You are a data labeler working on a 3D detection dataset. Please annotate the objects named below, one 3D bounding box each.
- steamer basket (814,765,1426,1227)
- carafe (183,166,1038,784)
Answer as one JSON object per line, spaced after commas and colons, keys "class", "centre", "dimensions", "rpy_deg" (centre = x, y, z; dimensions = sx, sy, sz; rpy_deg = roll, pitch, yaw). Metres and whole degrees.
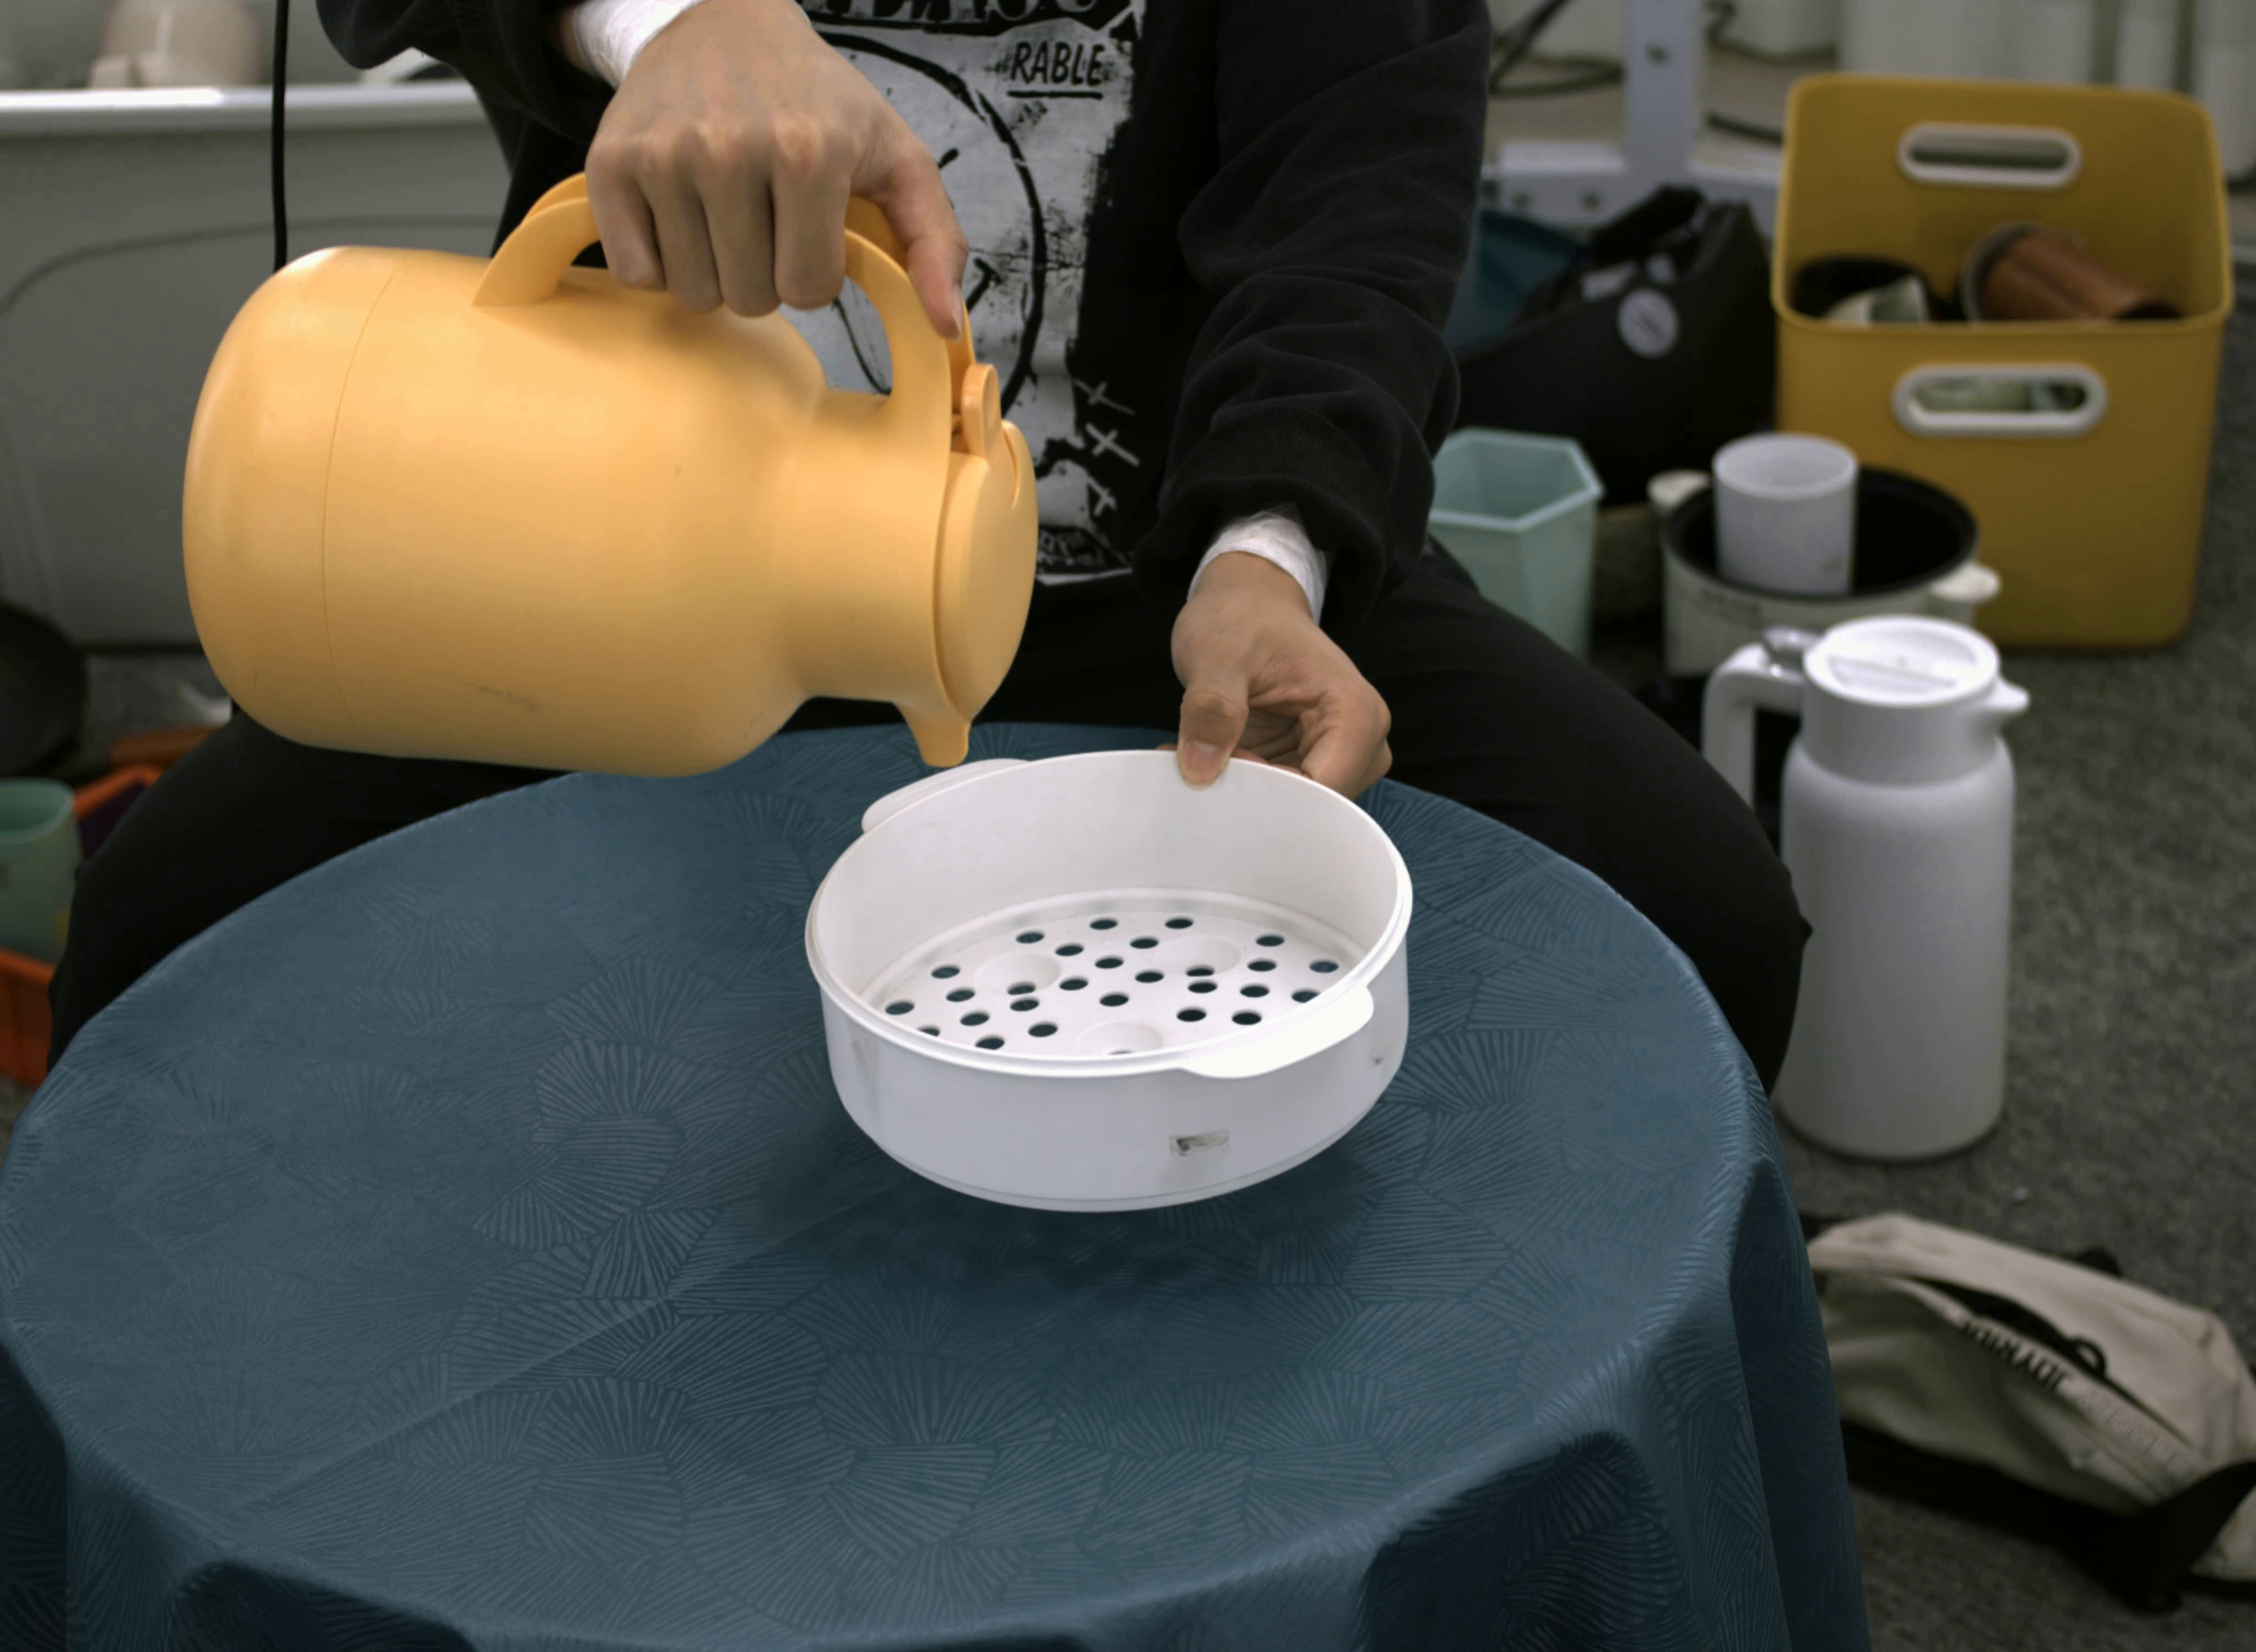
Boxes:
{"class": "steamer basket", "centre": [-0.001, 0.056, 1.850], "dimensions": [0.203, 0.068, 0.231], "rpy_deg": [-22, 34, -28]}
{"class": "carafe", "centre": [-0.160, -0.113, 1.788], "dimensions": [0.259, 0.200, 0.166], "rpy_deg": [6, 27, 10]}
